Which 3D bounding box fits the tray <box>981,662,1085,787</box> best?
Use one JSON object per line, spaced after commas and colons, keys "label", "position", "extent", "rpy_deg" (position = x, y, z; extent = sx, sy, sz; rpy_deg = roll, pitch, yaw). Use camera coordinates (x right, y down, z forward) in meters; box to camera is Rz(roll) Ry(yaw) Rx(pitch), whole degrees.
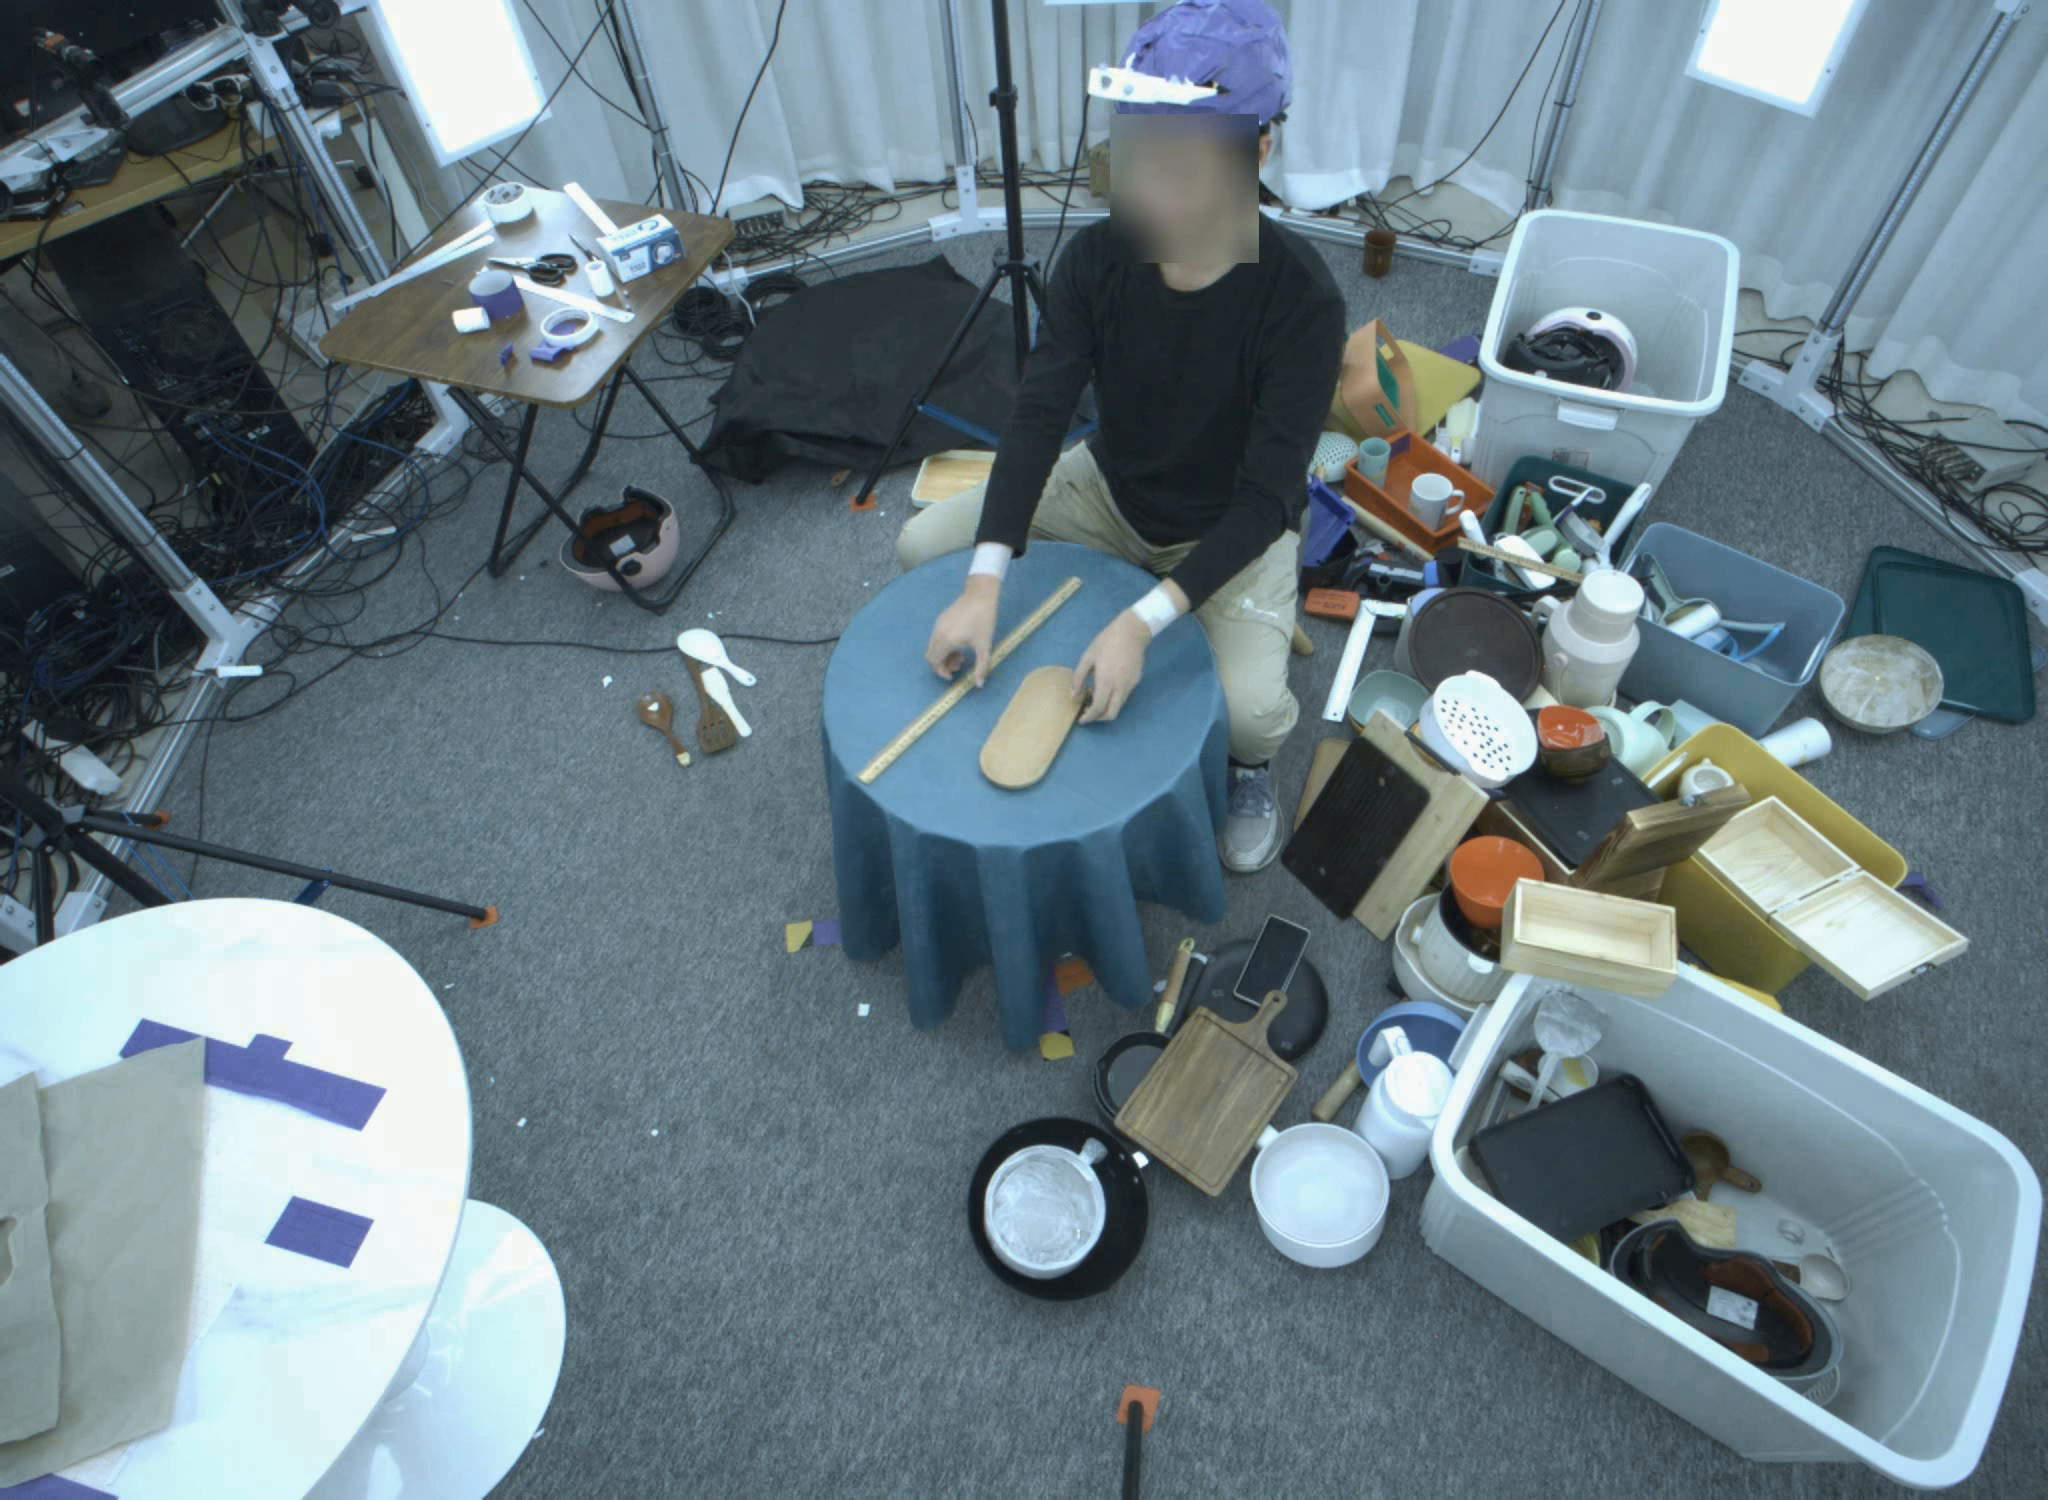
{"label": "tray", "position": [0.014, -0.039, 1.805], "extent": [0.101, 0.020, 0.231], "rpy_deg": [19, 56, 13]}

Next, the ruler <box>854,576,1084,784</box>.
{"label": "ruler", "position": [-0.074, -0.116, 1.870], "extent": [0.026, 0.006, 0.503], "rpy_deg": [34, 62, 22]}
